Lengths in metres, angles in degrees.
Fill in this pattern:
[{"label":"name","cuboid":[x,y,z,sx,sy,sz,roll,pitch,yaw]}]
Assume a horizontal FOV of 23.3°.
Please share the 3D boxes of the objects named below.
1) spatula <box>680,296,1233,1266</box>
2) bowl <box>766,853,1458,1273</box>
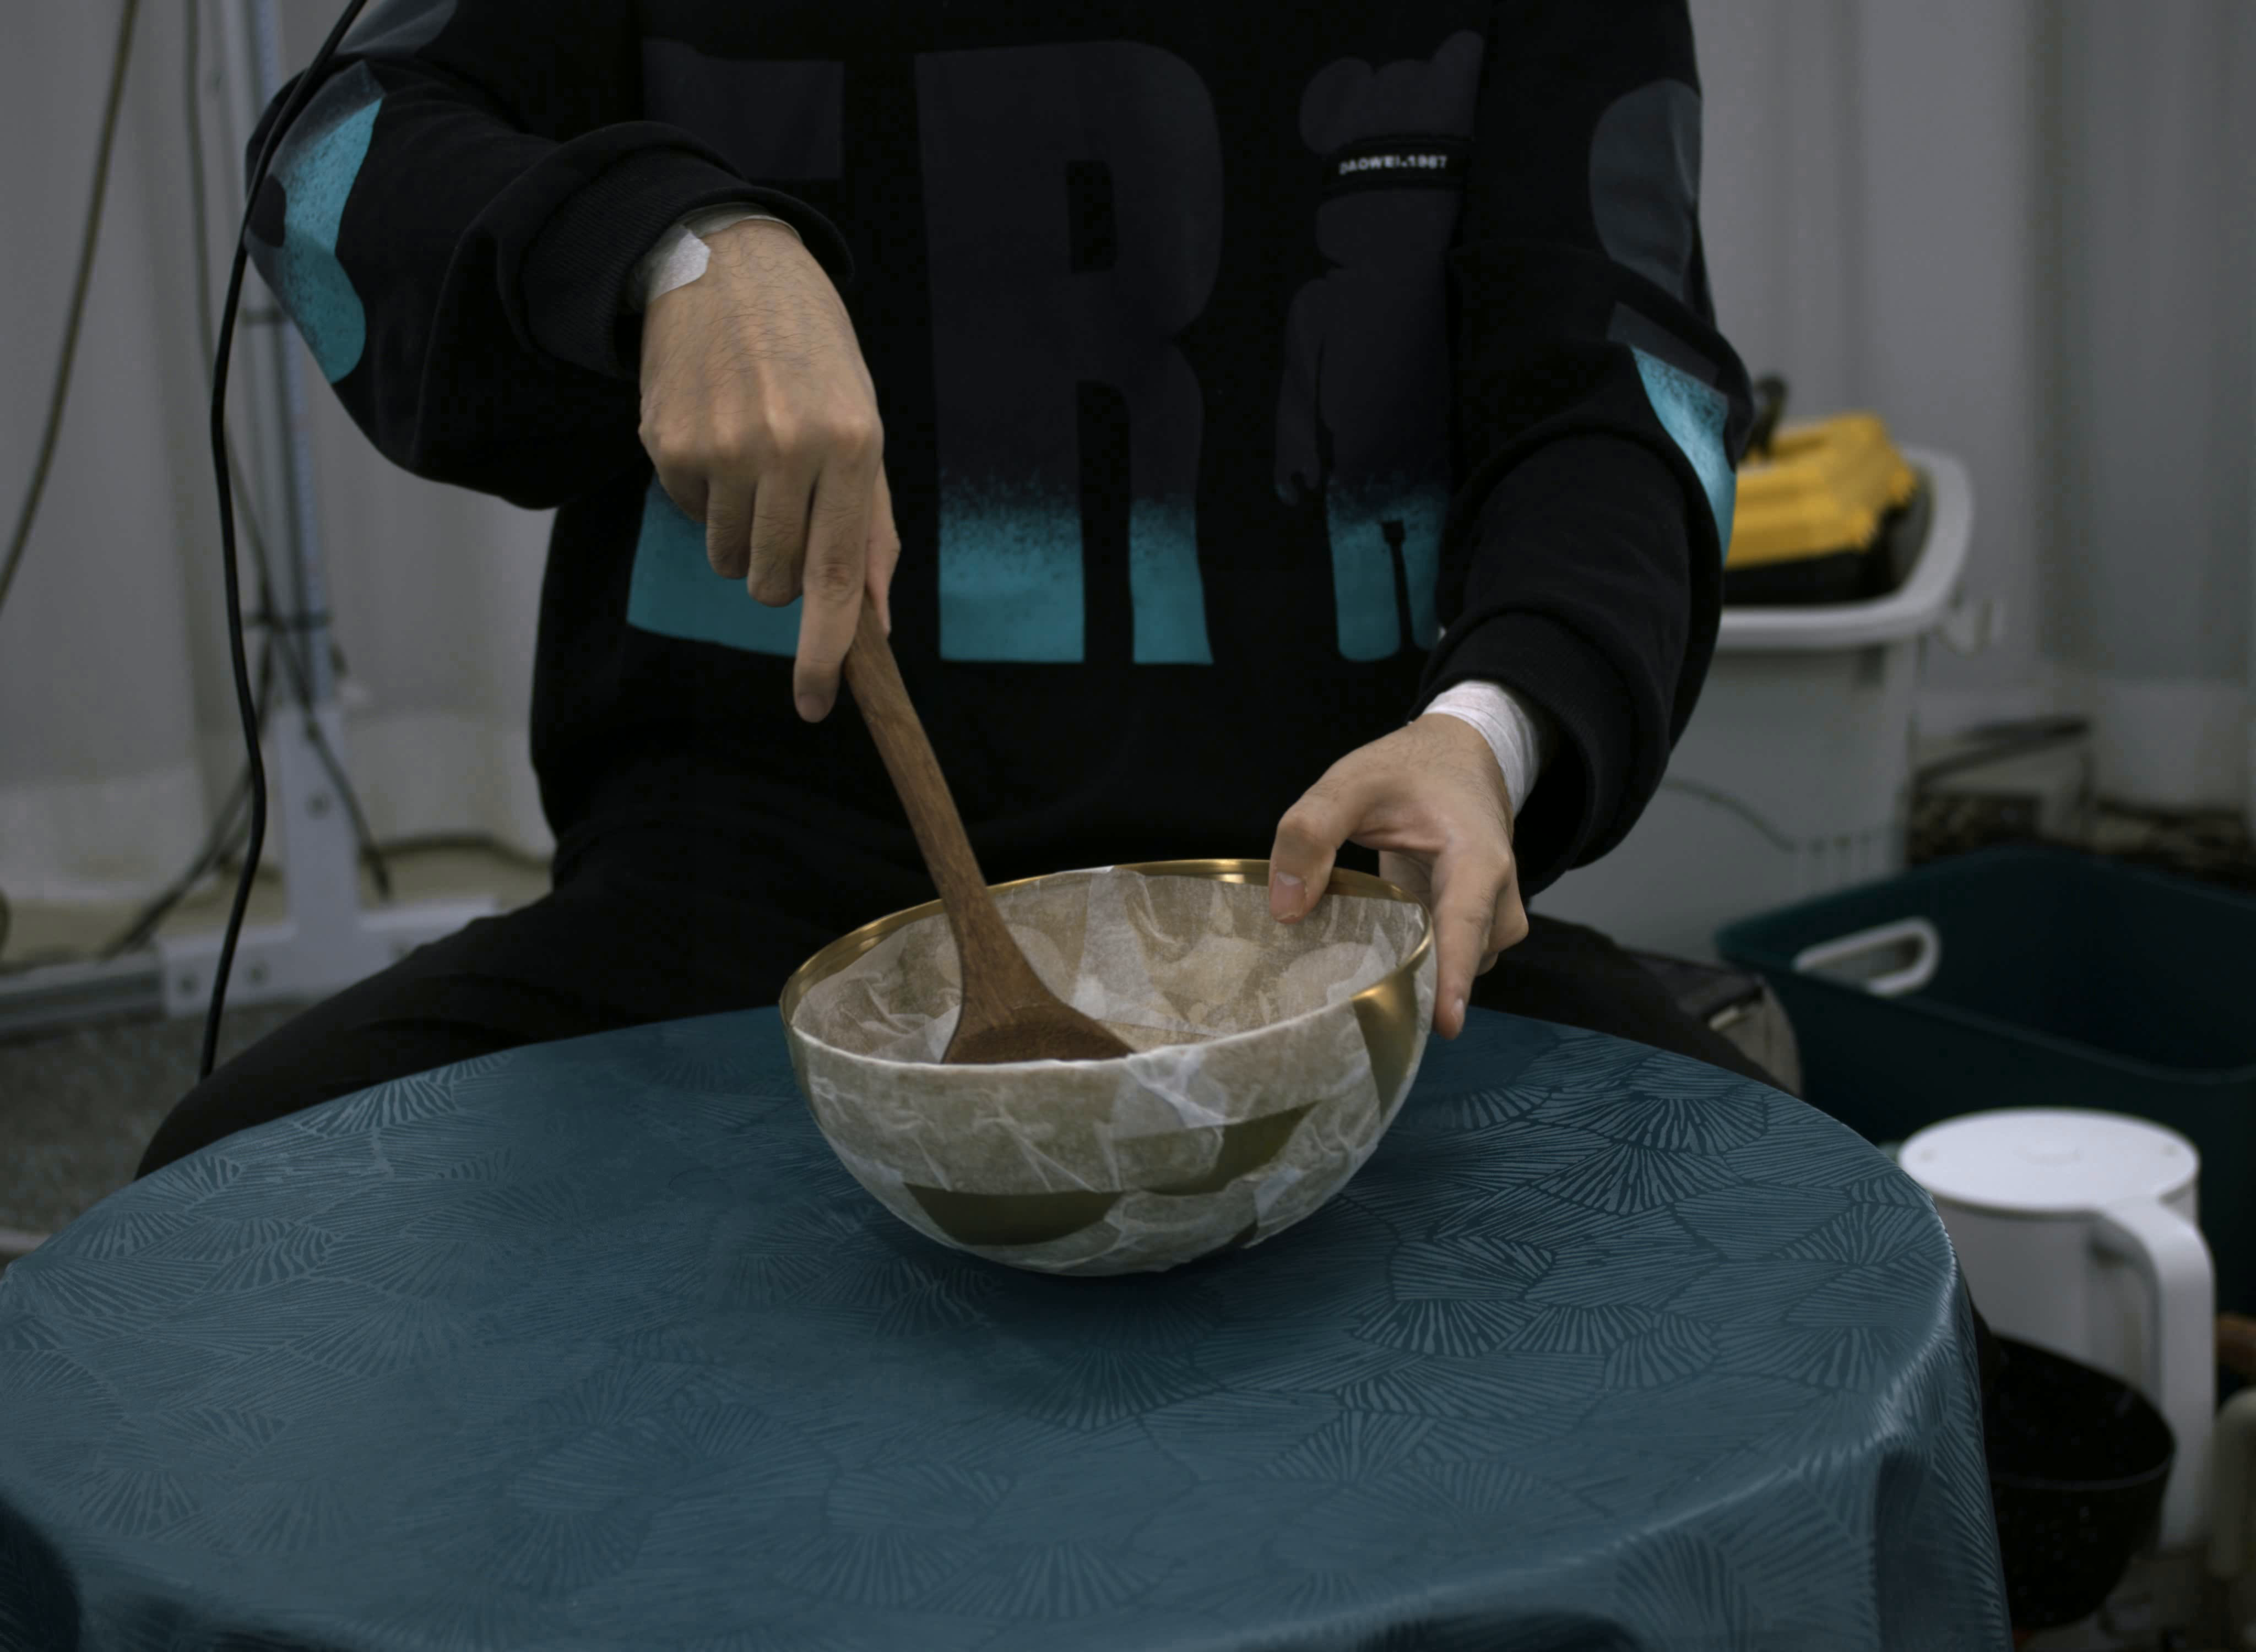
[{"label":"spatula","cuboid":[-0.067,-0.023,1.716,0.095,0.015,0.391,-3,54,-34]},{"label":"bowl","cuboid":[0.000,0.080,1.658,0.214,0.094,0.216,-8,13,2]}]
